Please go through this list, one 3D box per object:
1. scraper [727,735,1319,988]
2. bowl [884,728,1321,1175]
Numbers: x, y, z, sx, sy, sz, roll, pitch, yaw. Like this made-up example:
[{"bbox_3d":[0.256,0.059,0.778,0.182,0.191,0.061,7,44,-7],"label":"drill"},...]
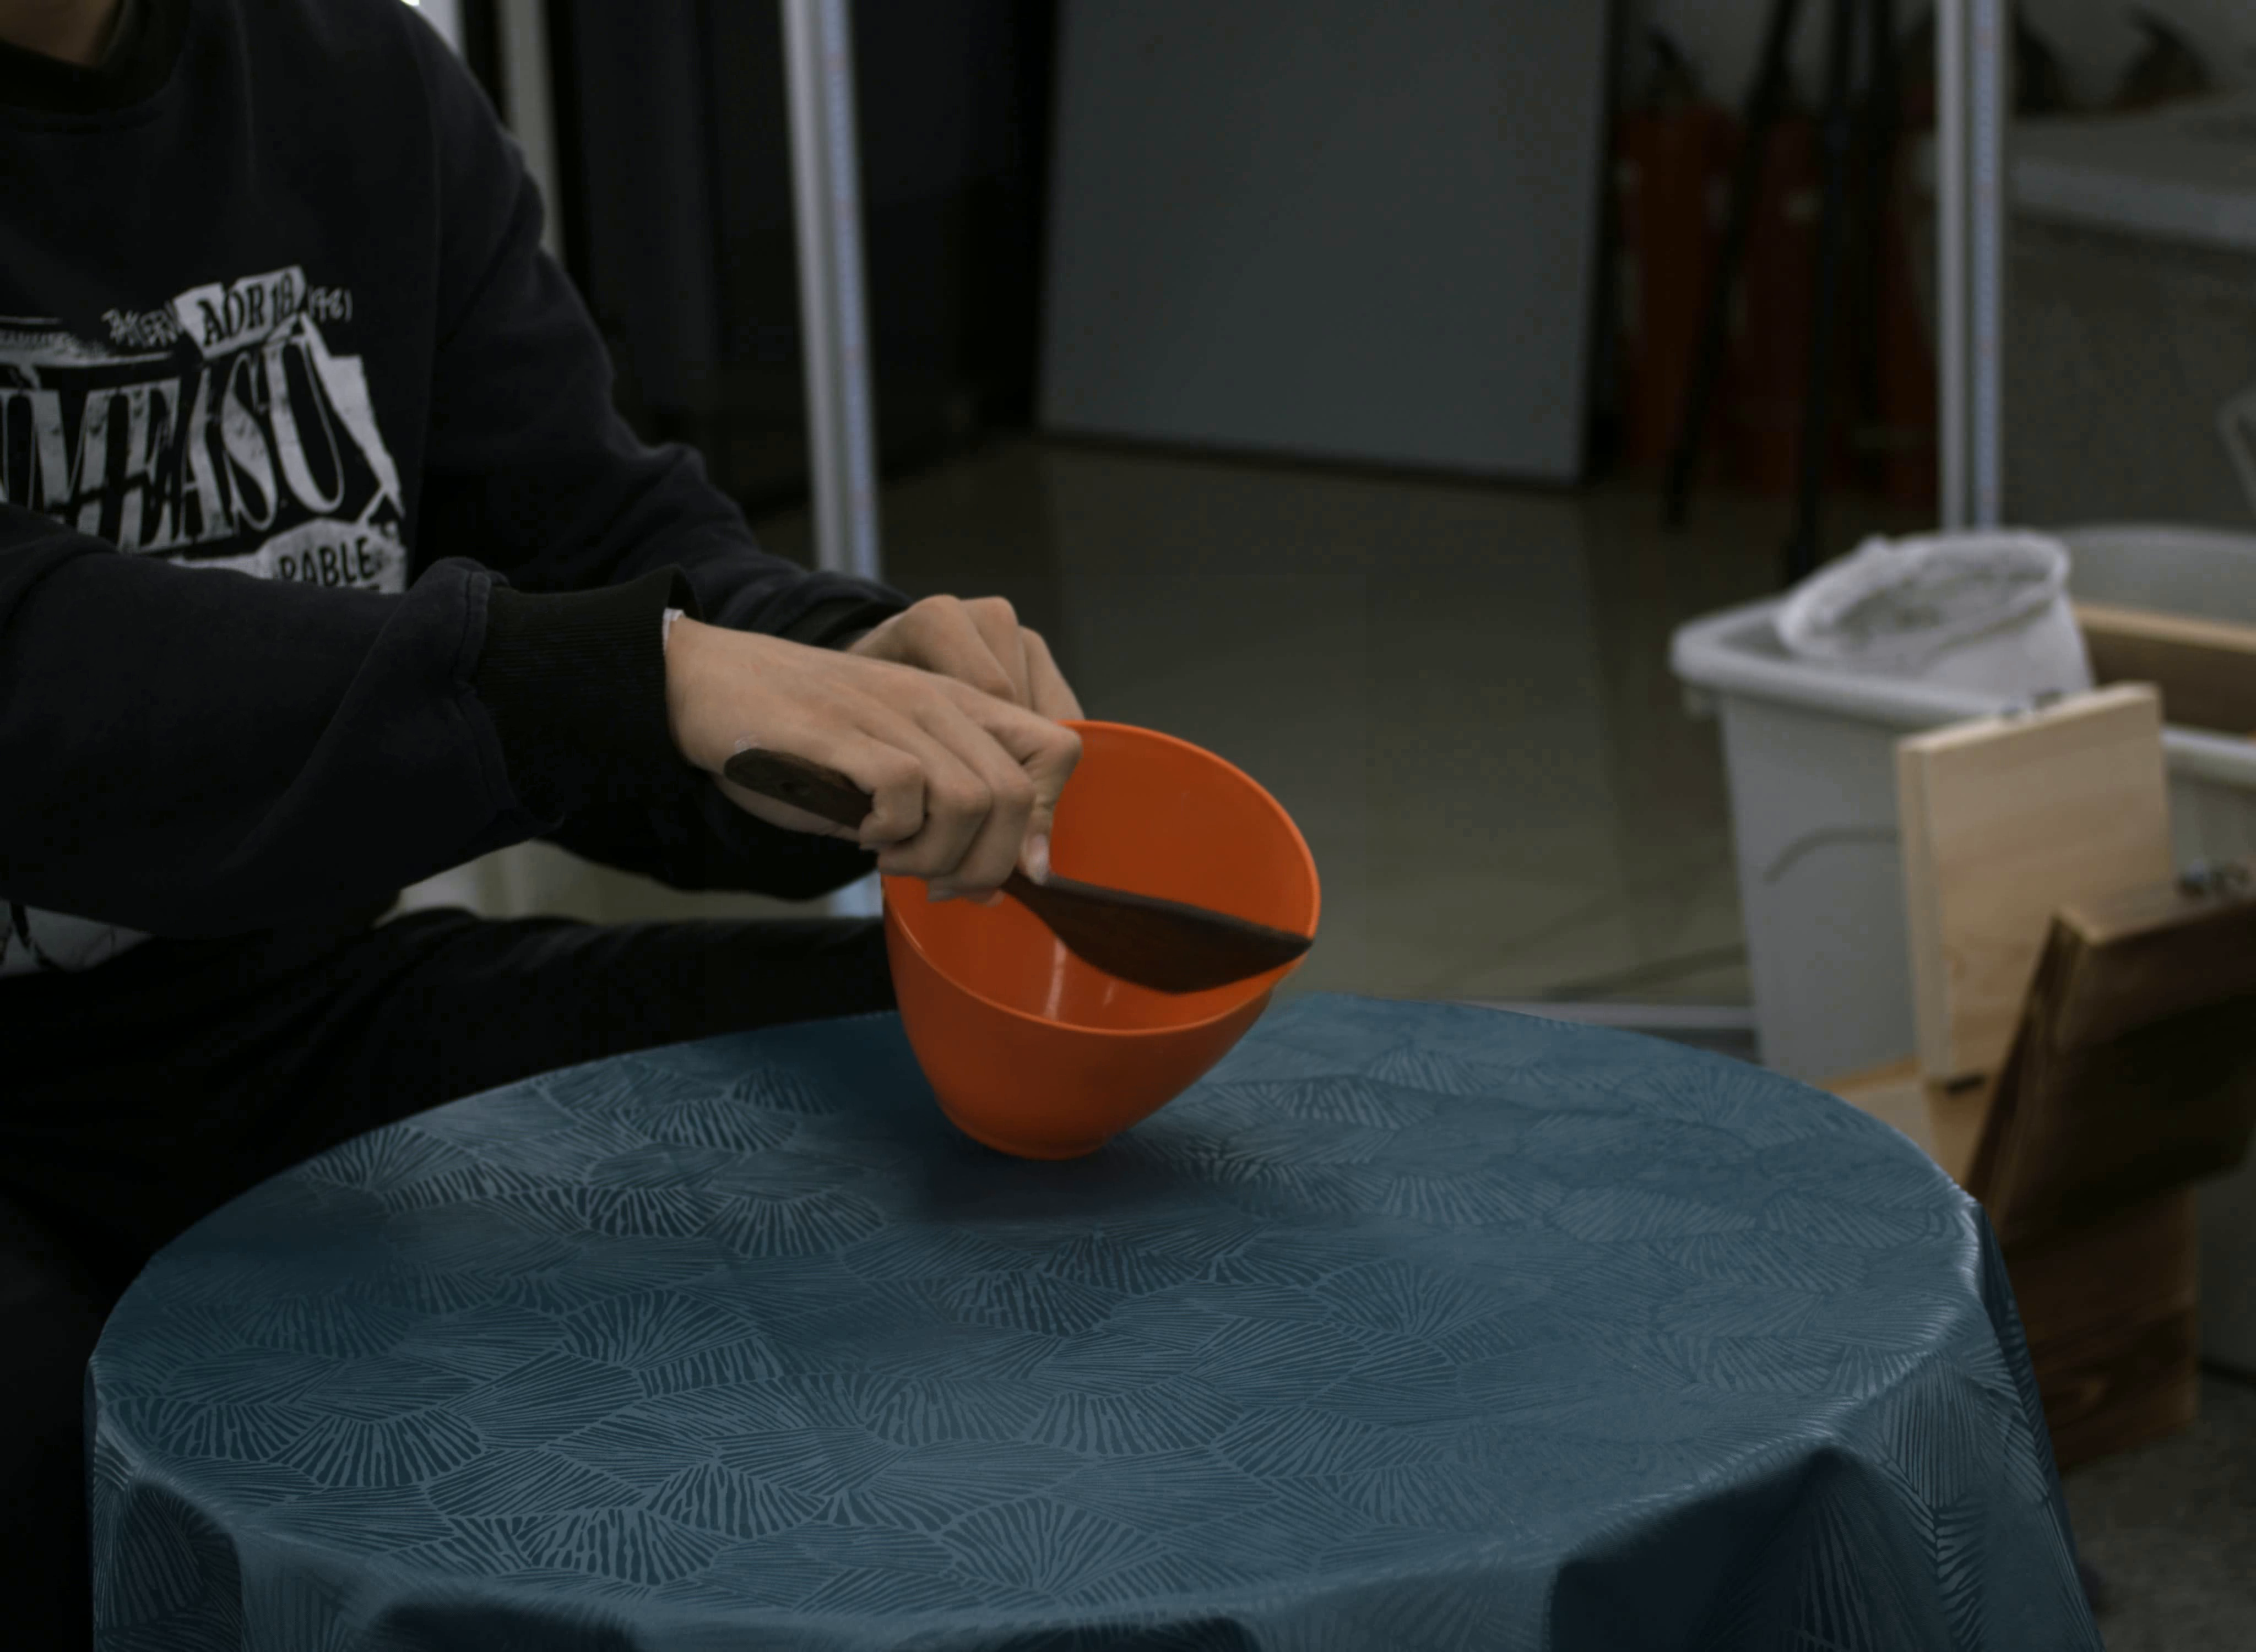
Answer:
[{"bbox_3d":[-0.037,0.012,1.736,0.207,0.011,0.076,23,-30,-28],"label":"scraper"},{"bbox_3d":[-0.017,0.051,1.810,0.145,0.105,0.149,9,34,-7],"label":"bowl"}]
